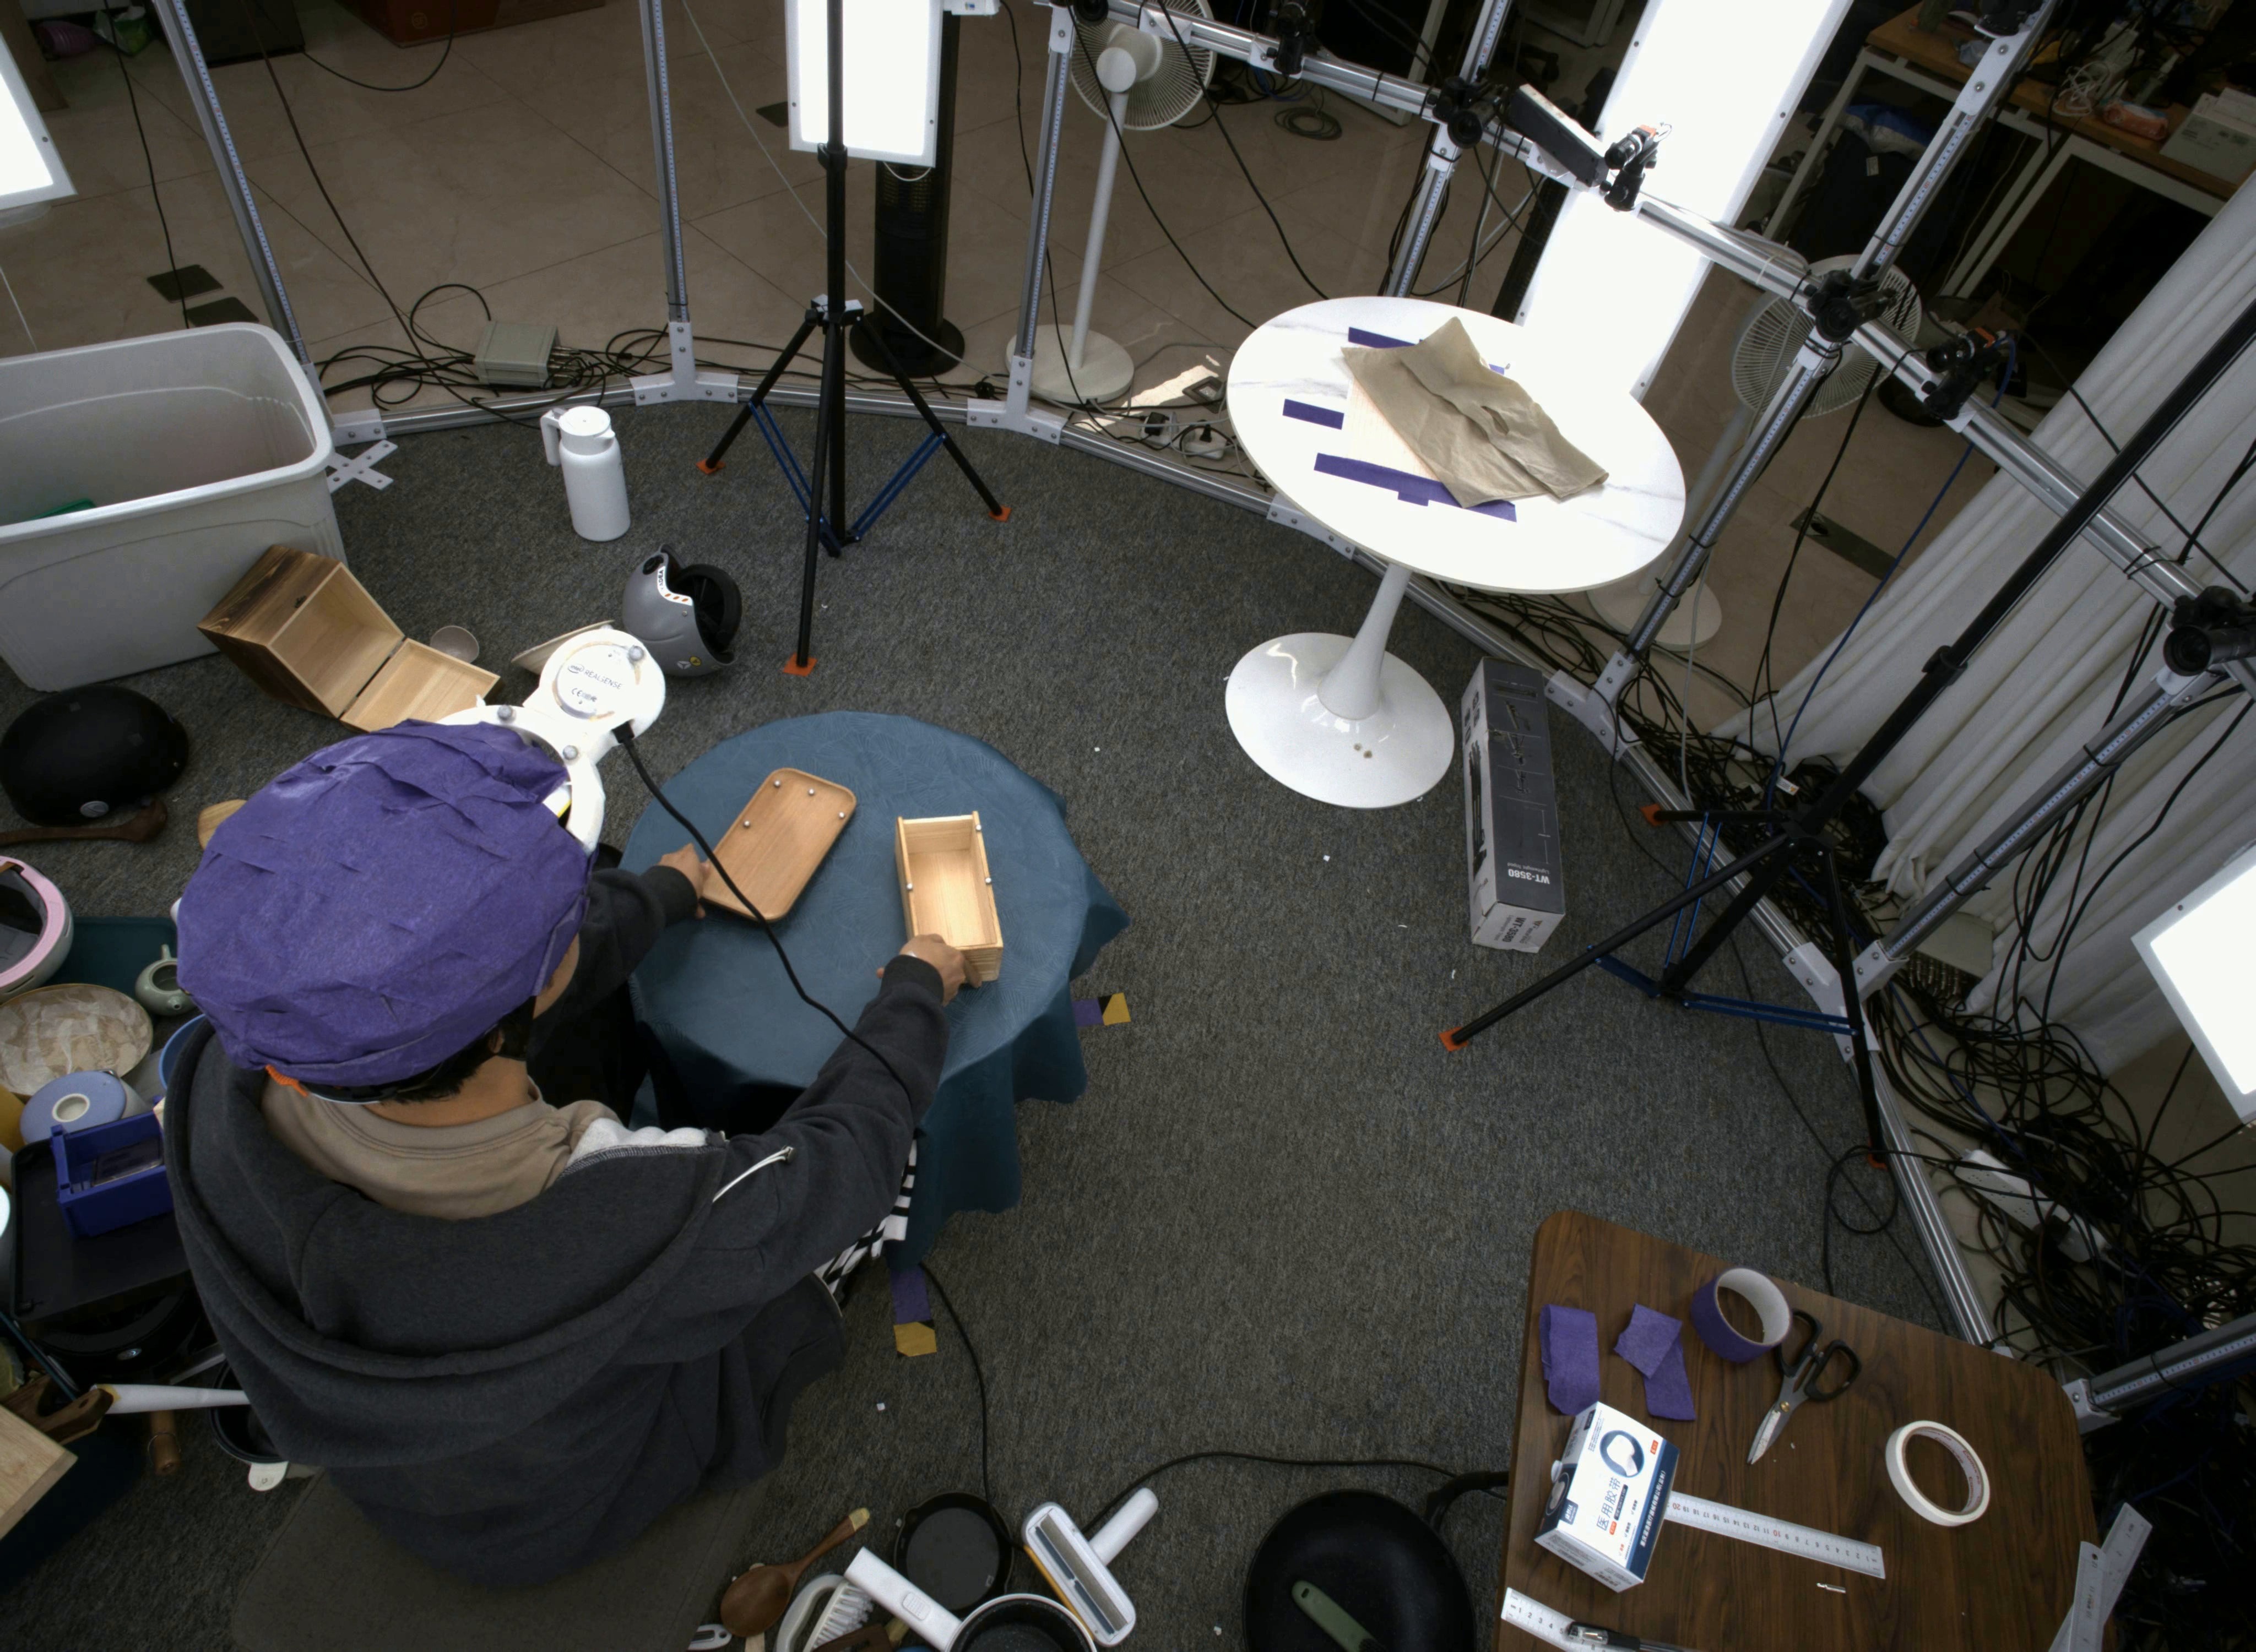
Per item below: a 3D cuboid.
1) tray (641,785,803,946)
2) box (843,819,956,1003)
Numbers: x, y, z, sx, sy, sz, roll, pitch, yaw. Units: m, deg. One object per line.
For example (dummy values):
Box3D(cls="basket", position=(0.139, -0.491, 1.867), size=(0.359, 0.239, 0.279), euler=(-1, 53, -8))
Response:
Box3D(cls="tray", position=(-0.515, 0.046, 1.647), size=(0.129, 0.023, 0.247), euler=(17, 47, 2))
Box3D(cls="box", position=(-0.289, 0.103, 1.635), size=(0.108, 0.082, 0.206), euler=(-7, 56, -18))
